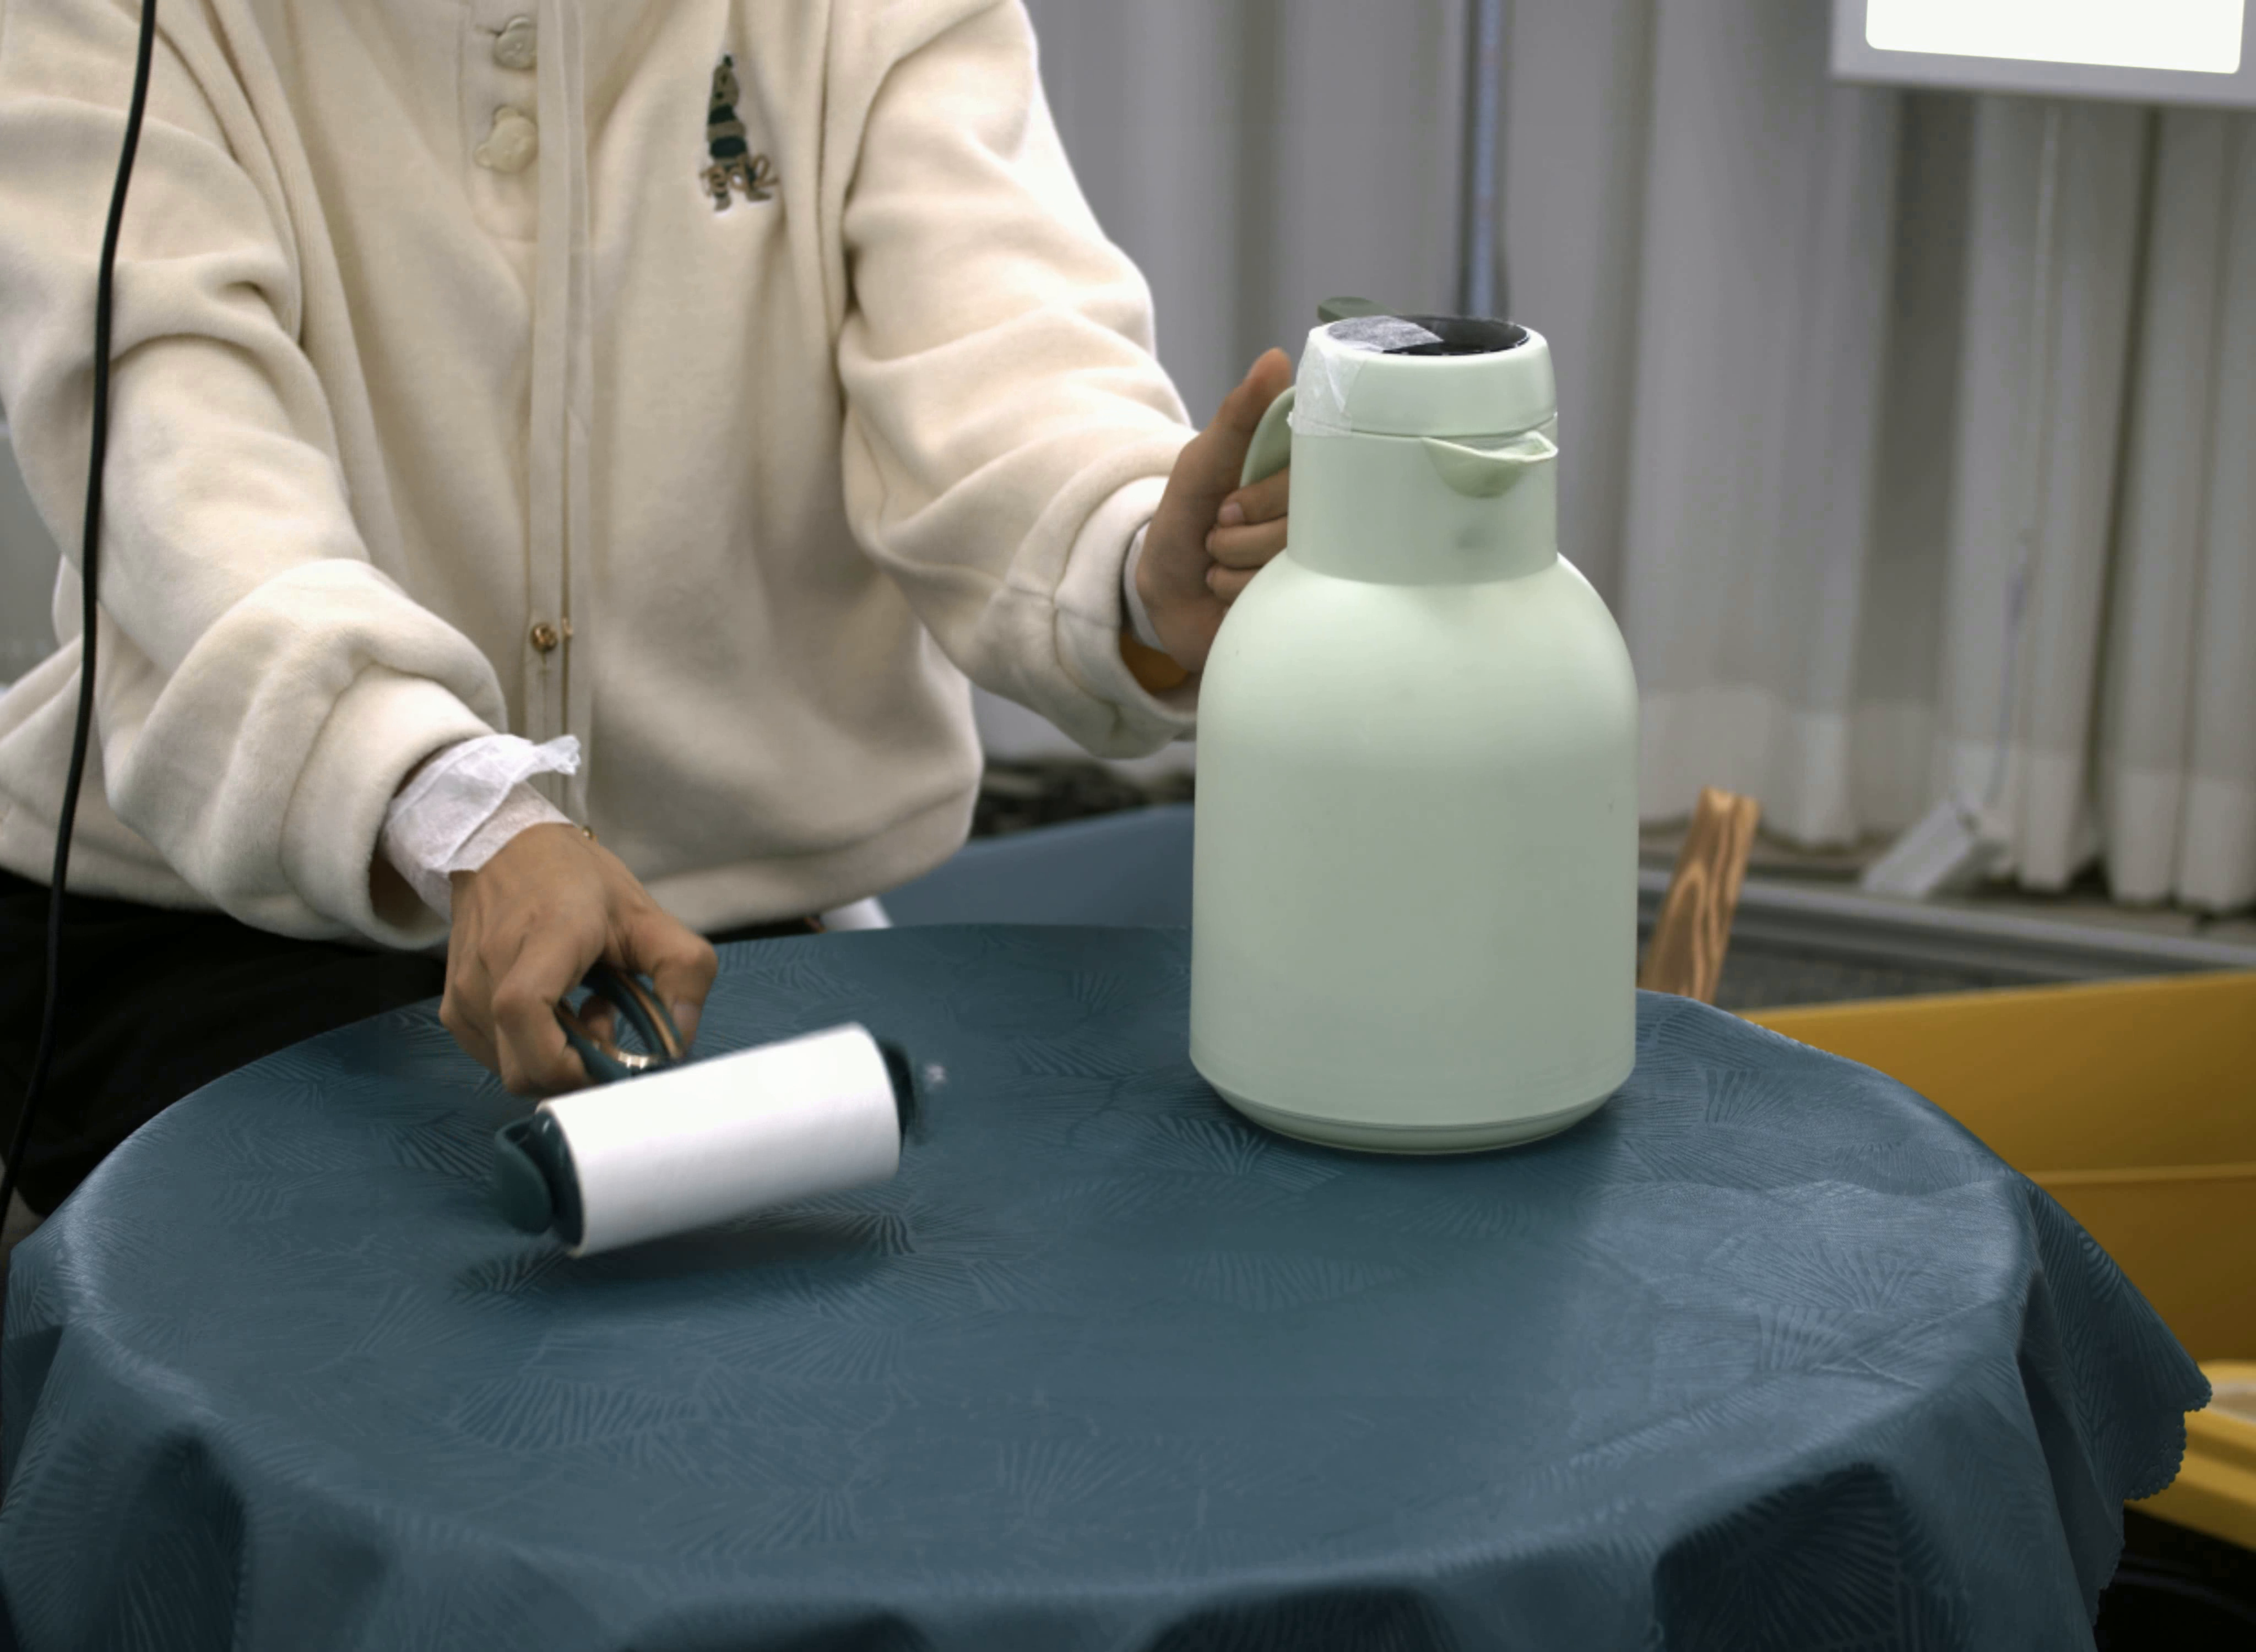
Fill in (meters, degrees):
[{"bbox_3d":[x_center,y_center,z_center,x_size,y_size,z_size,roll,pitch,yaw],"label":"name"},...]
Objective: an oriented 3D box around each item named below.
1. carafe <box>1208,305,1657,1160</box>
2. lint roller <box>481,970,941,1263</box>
[{"bbox_3d":[0.090,-0.035,1.687,0.144,0.259,0.184,-9,15,-23],"label":"carafe"},{"bbox_3d":[-0.149,0.068,1.607,0.134,0.049,0.177,-9,30,-21],"label":"lint roller"}]
